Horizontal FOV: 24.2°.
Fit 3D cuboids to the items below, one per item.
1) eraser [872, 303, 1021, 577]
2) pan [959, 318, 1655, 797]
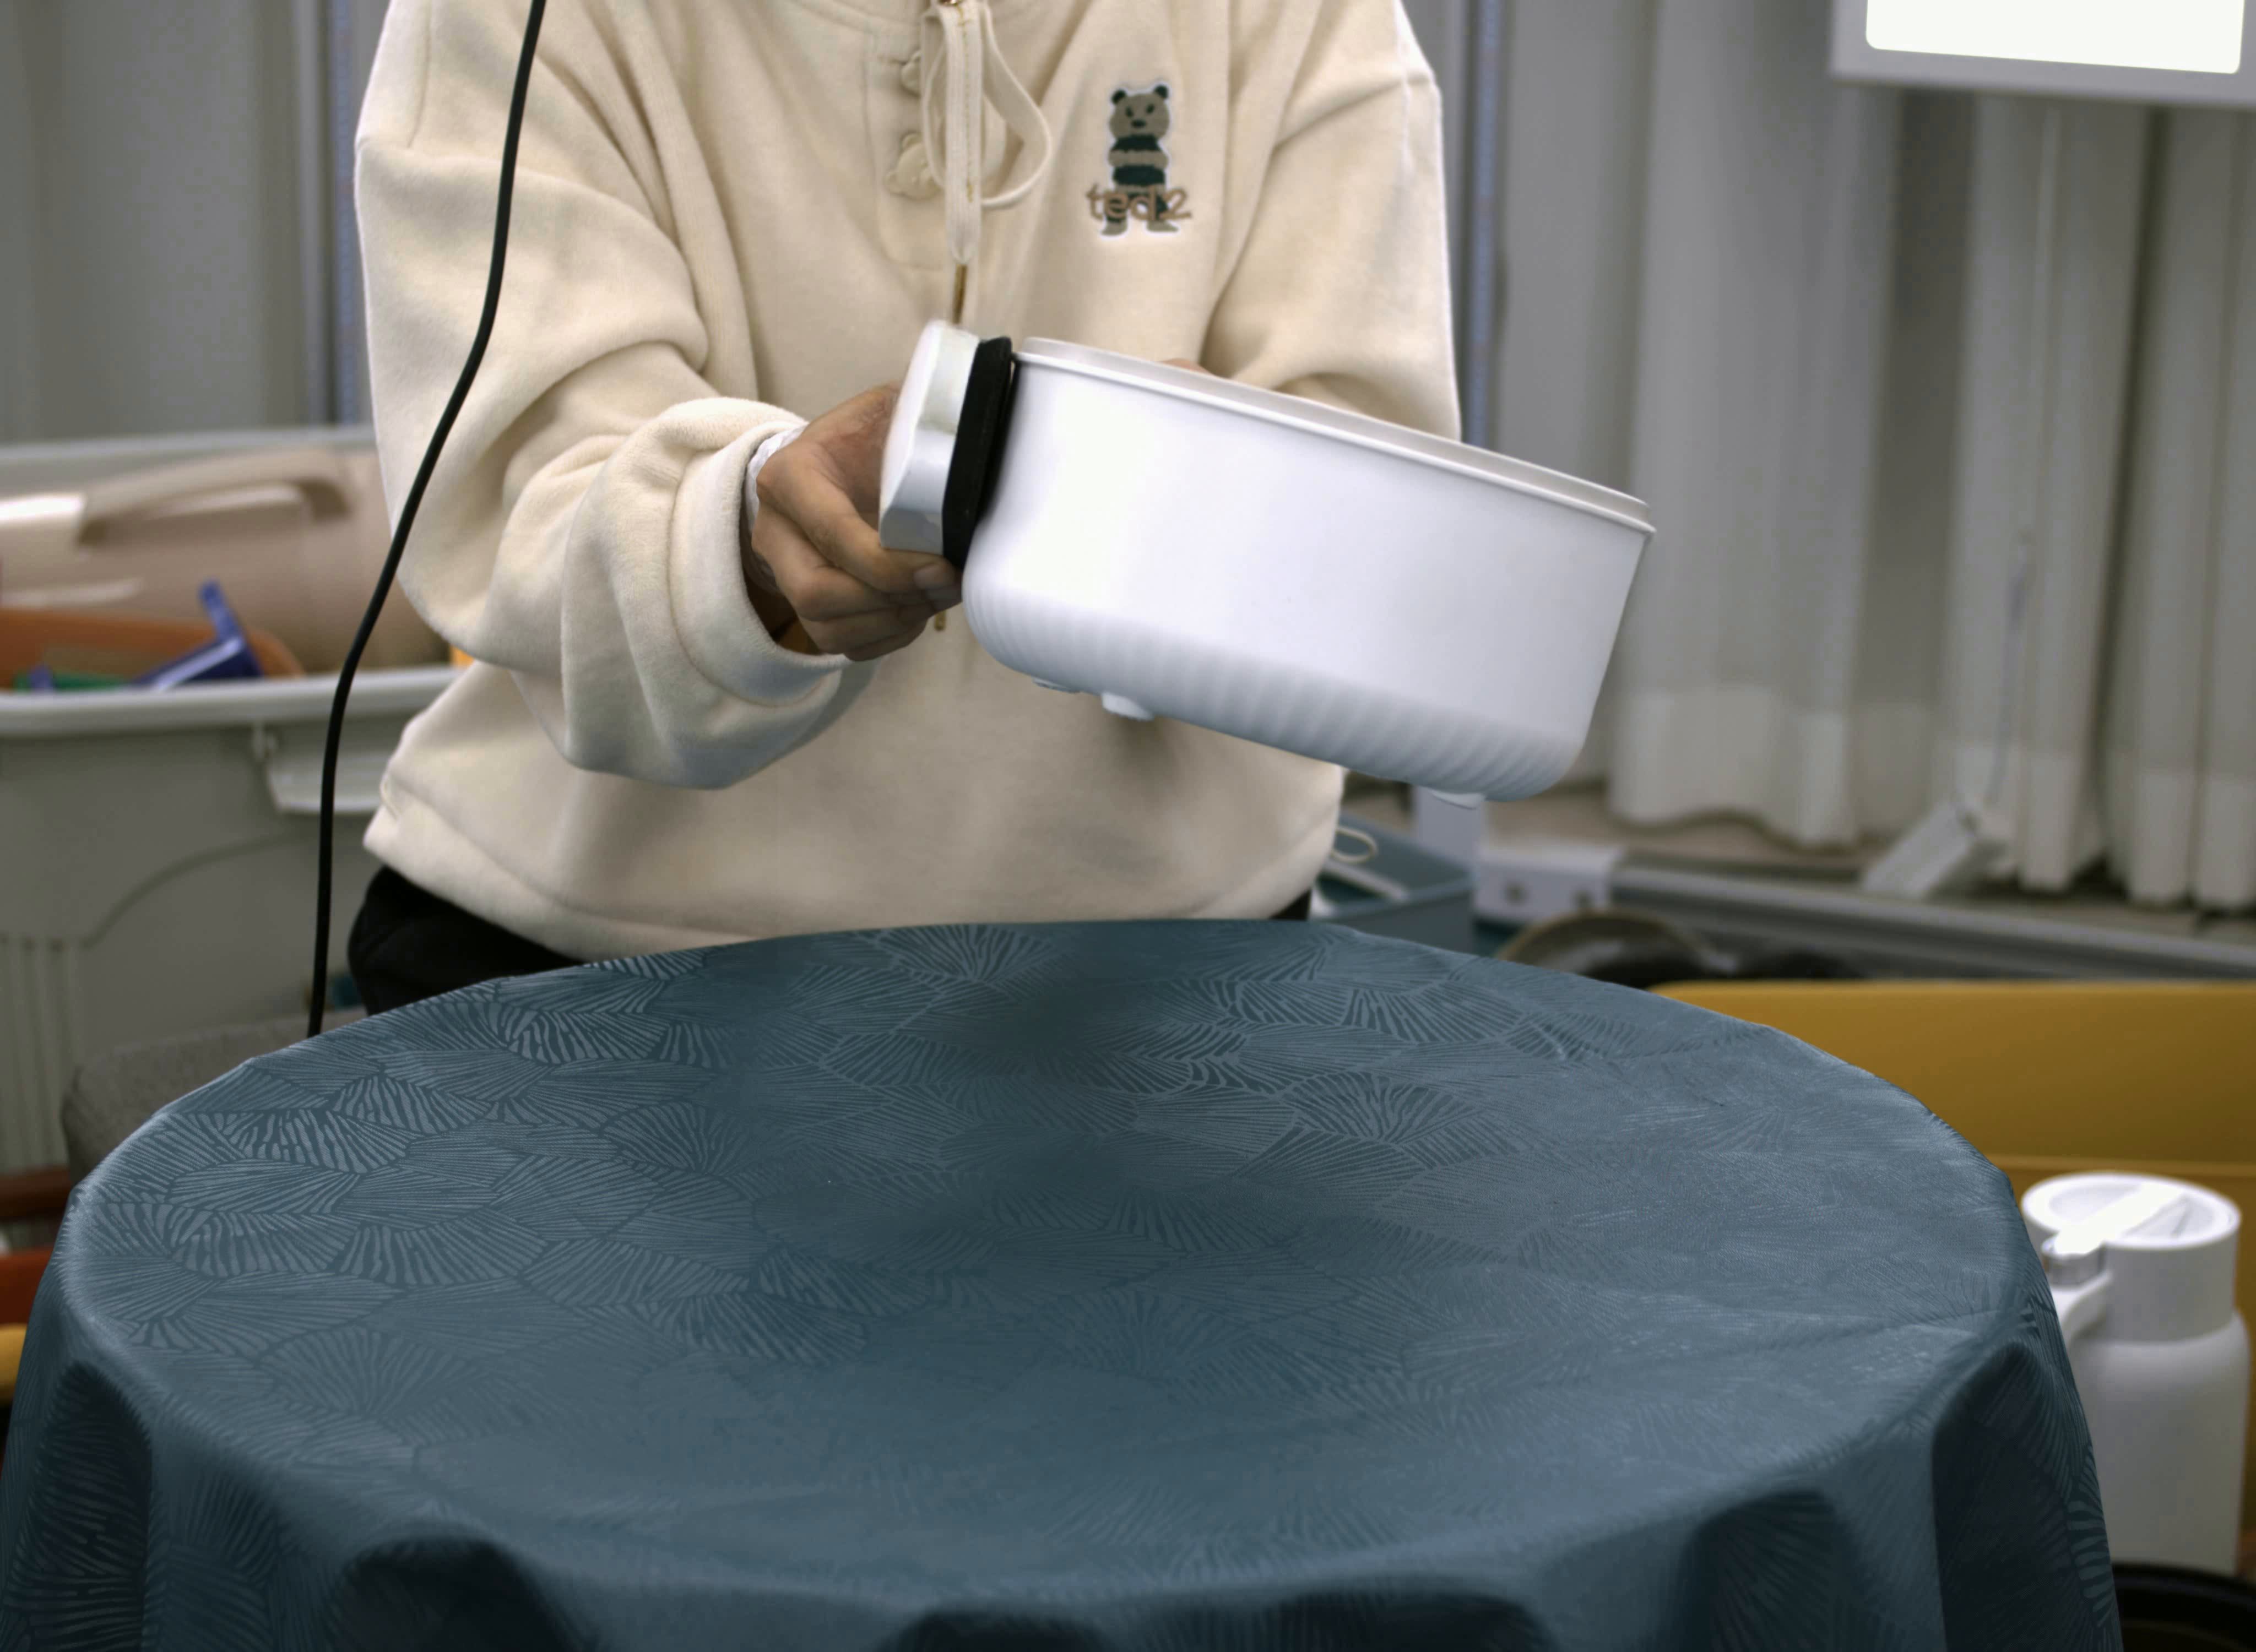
[{"bbox_3d":[-0.056,-0.117,1.599,0.034,0.063,0.131,15,-8,0],"label":"eraser"},{"bbox_3d":[0.032,-0.080,1.649,0.202,0.102,0.352,16,0,-14],"label":"pan"}]
